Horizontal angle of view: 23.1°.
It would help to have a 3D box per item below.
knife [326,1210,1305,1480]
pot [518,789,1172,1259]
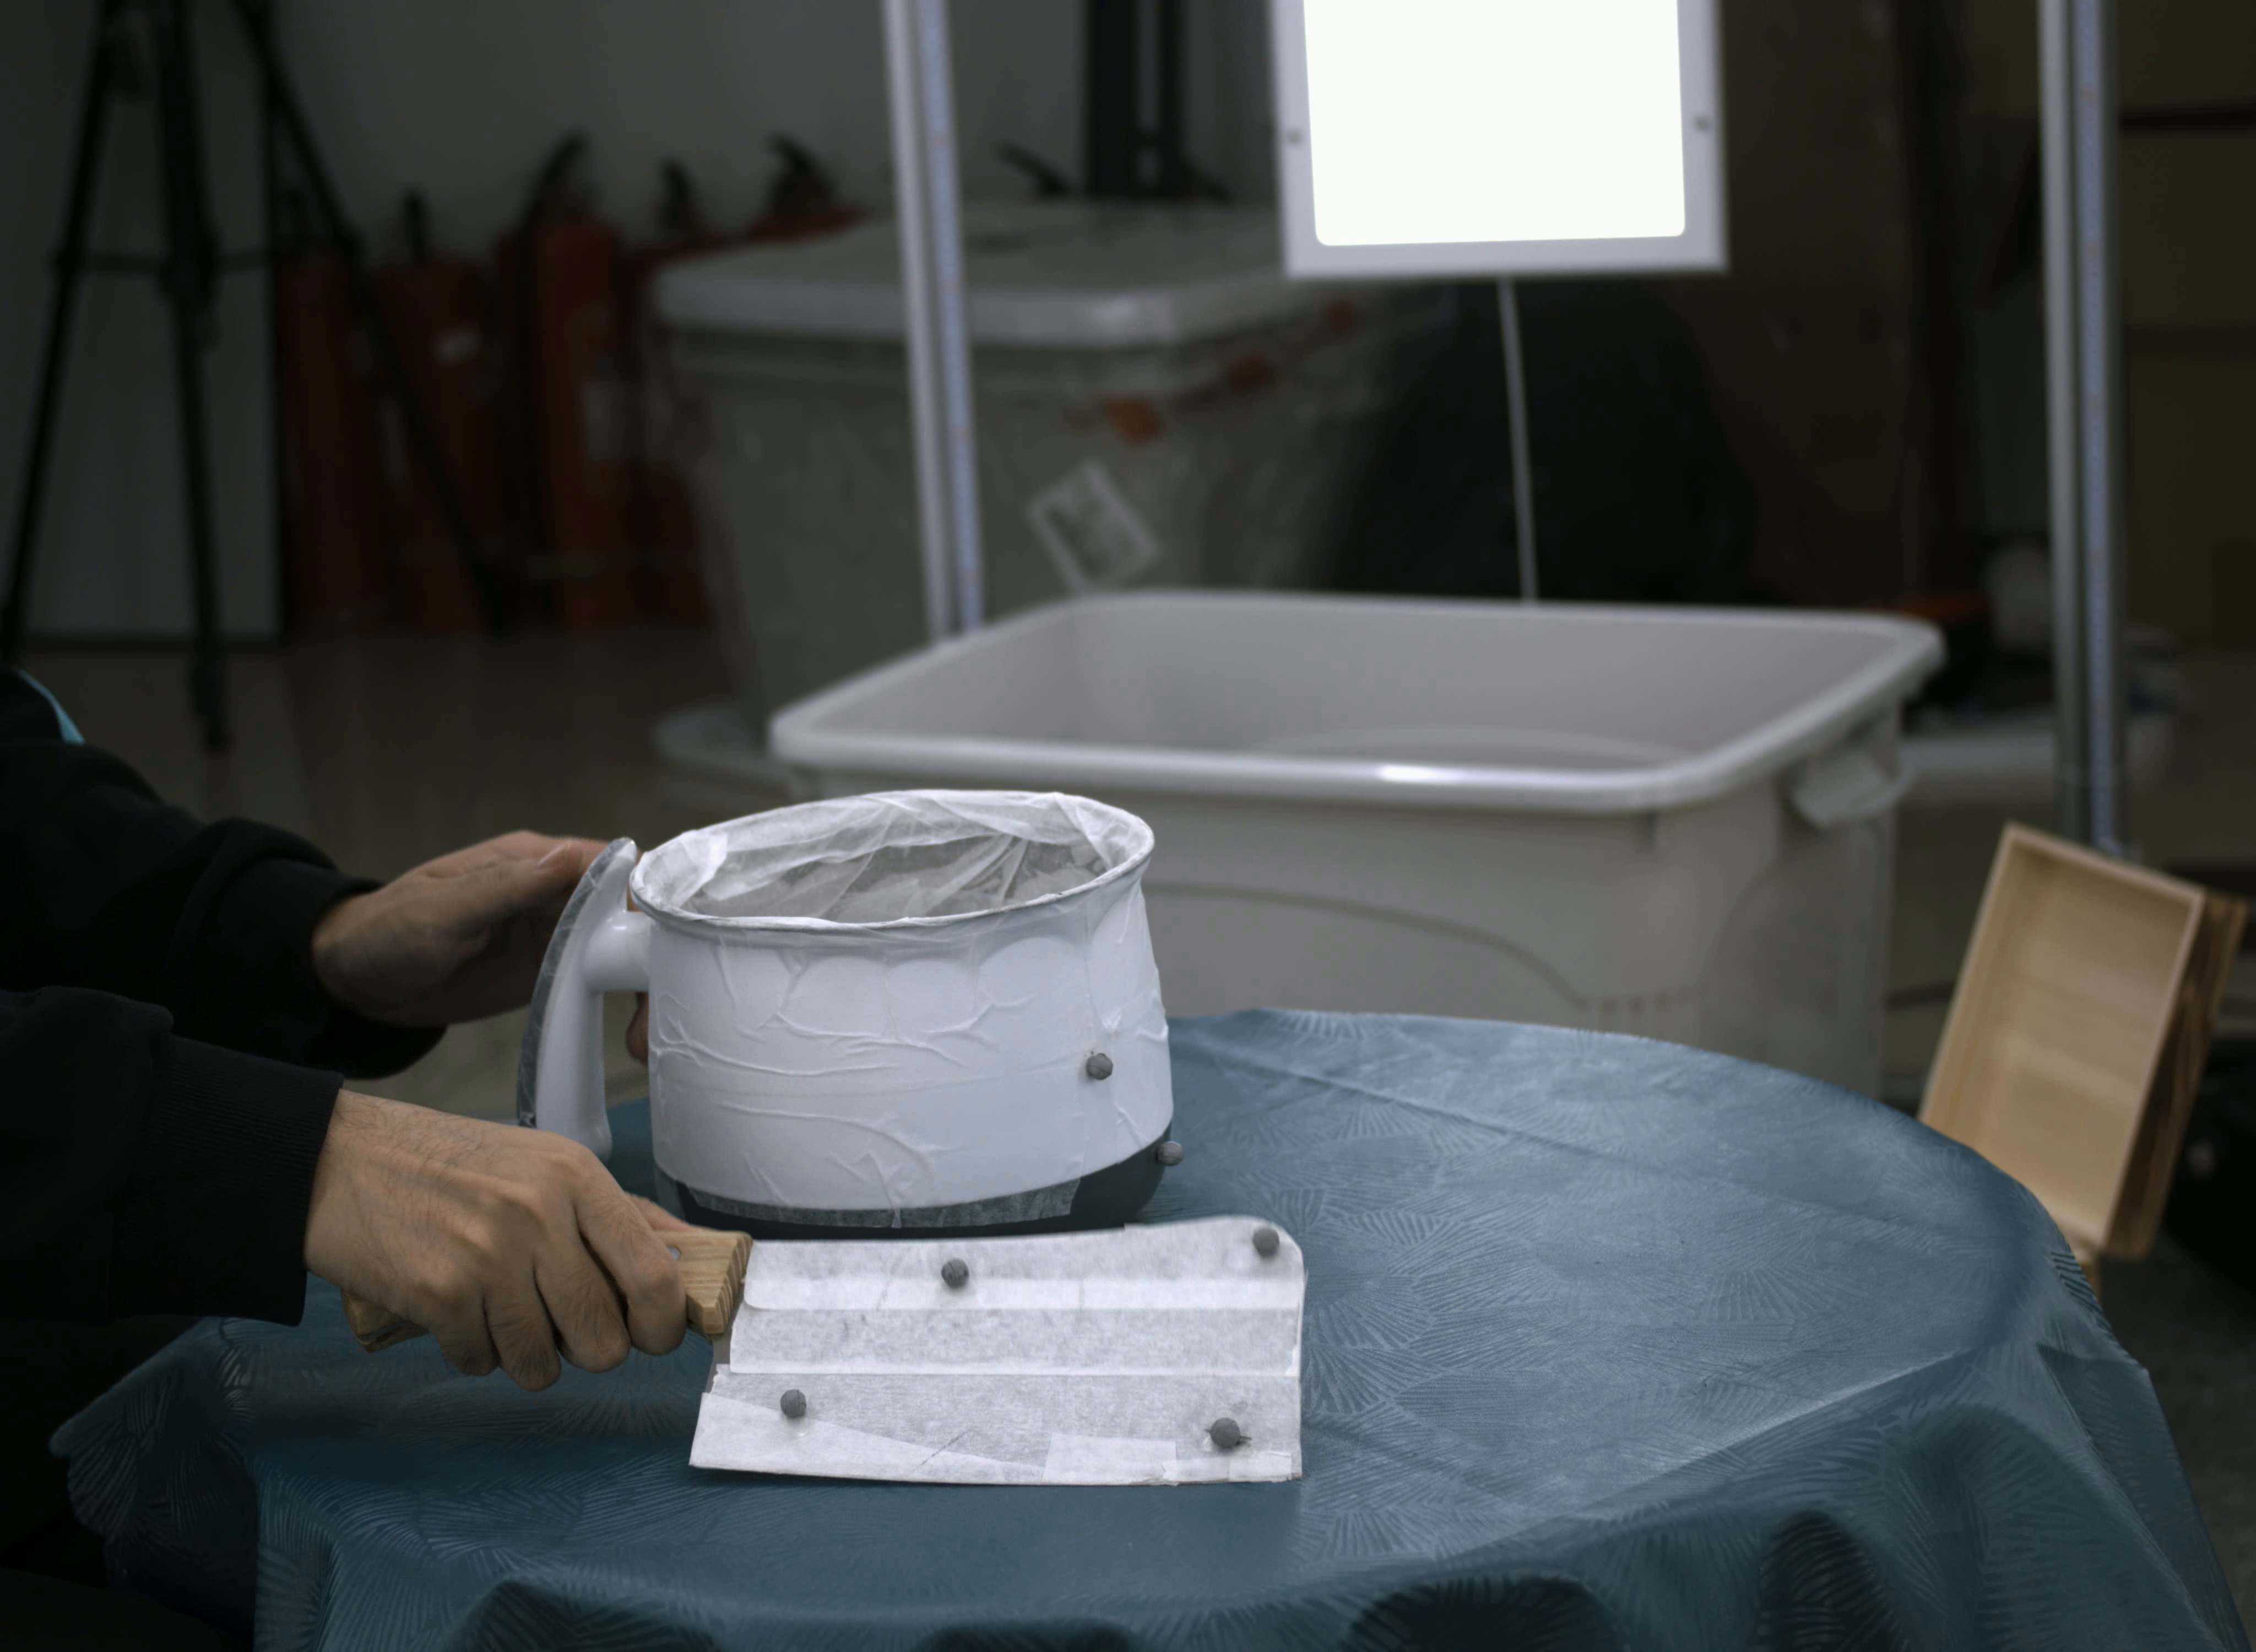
[{"bbox_3d":[-0.095,0.155,1.683,0.318,0.022,0.113,2,46,15],"label":"knife"},{"bbox_3d":[-0.100,0.070,1.872,0.237,0.137,0.176,1,14,19],"label":"pot"}]
